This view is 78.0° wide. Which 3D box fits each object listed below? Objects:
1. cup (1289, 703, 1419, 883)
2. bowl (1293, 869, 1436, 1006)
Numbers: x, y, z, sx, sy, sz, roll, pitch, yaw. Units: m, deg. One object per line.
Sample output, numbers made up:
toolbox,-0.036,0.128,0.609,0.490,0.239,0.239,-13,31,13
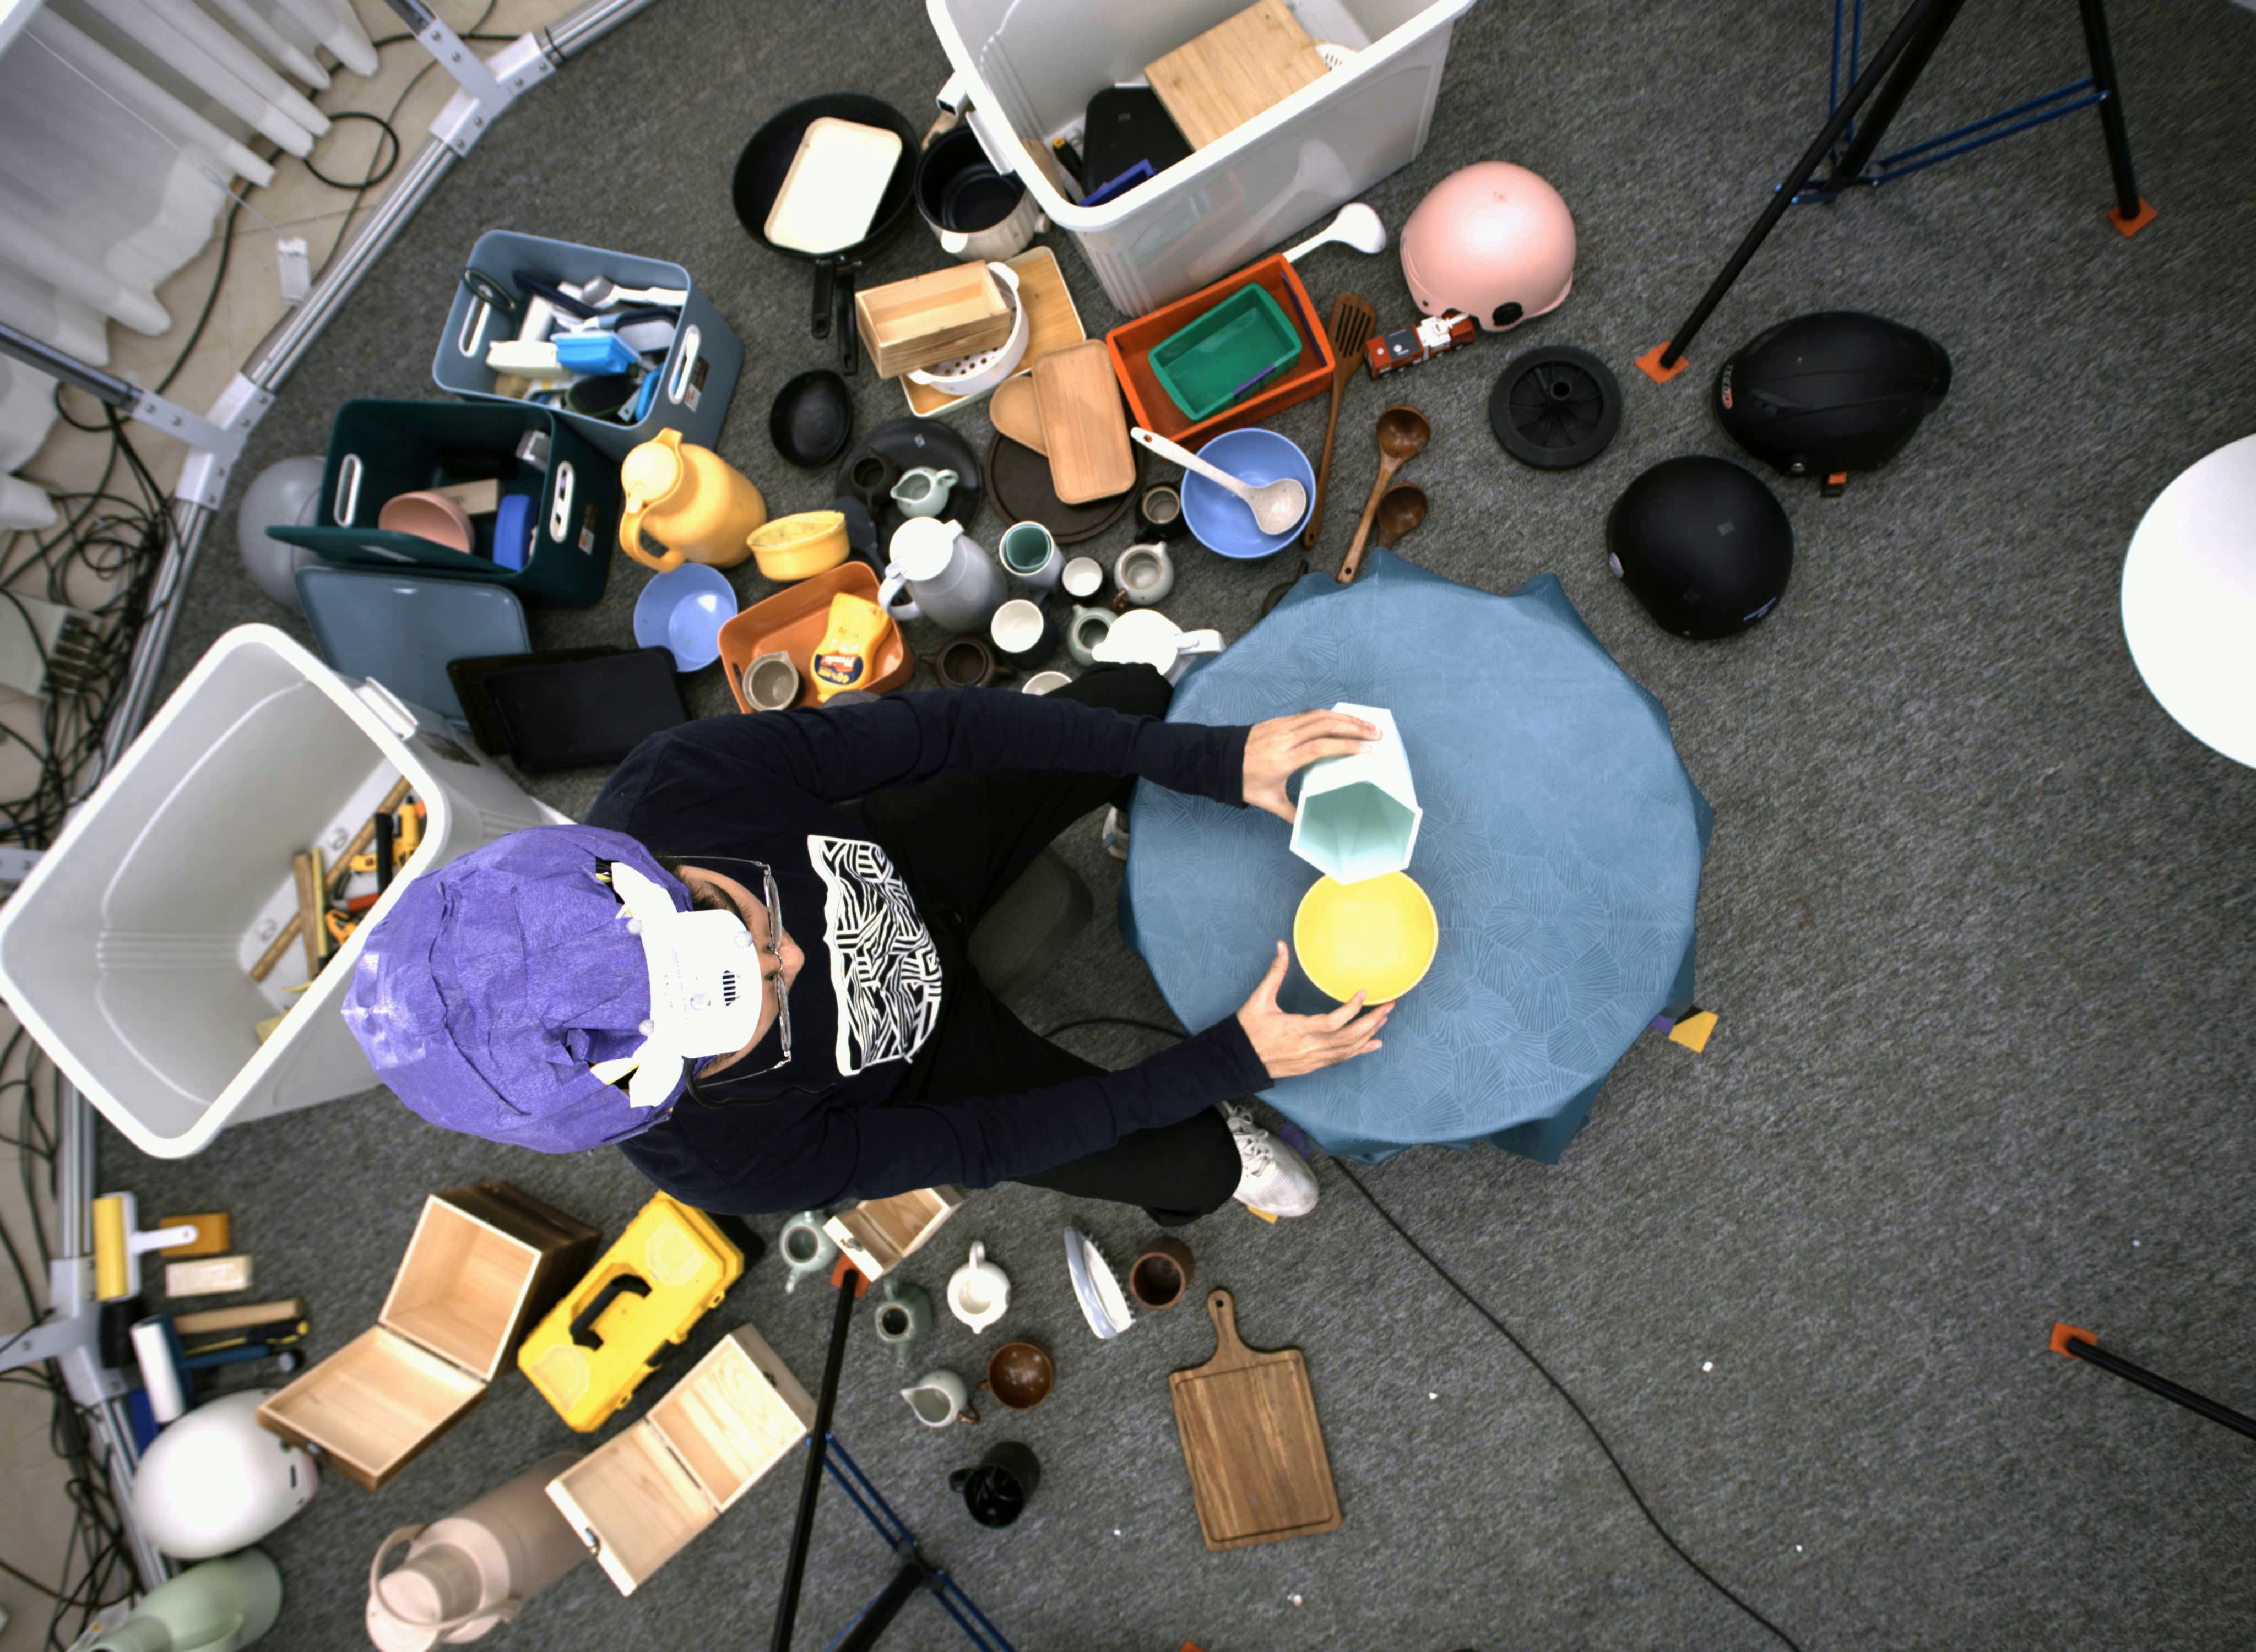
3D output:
cup,0.225,-0.043,1.361,0.115,0.158,0.134,8,126,6
bowl,0.245,0.112,1.433,0.146,0.060,0.144,-1,86,12
